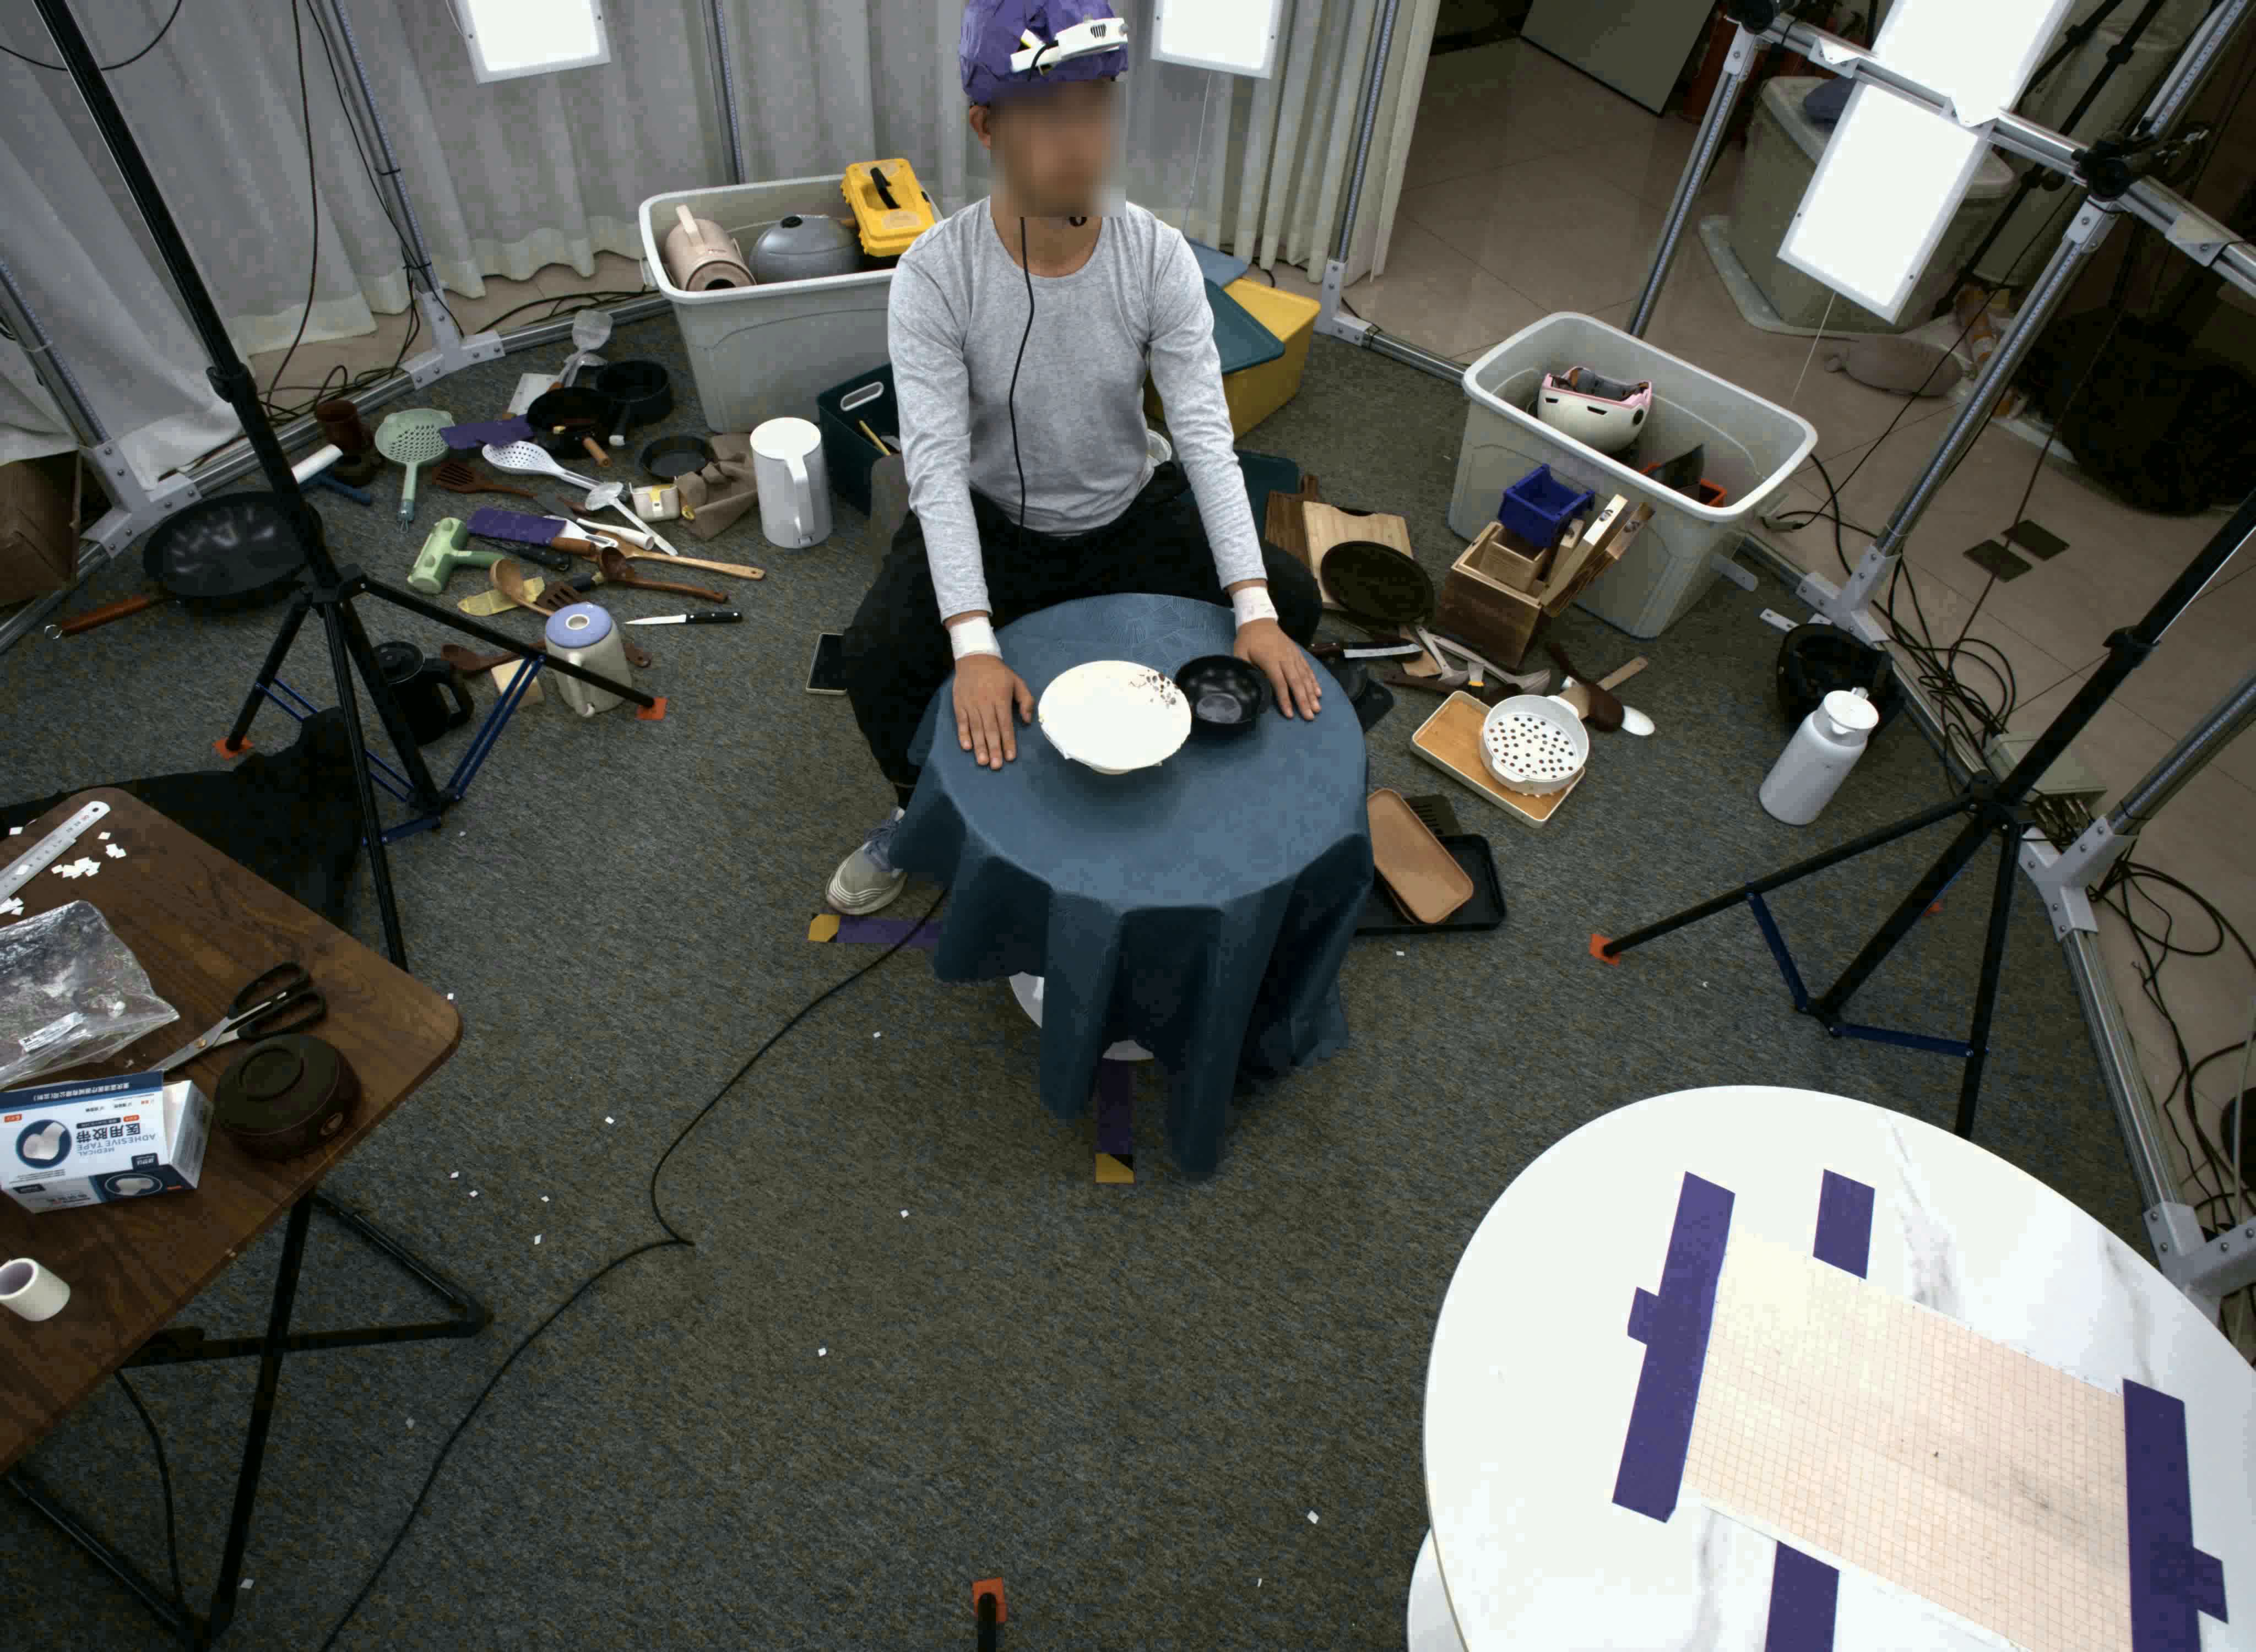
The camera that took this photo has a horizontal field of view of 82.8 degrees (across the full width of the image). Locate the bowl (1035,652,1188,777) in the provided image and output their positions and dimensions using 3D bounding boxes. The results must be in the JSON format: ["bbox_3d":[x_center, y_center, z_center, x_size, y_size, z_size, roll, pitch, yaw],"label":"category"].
[{"bbox_3d":[-0.026,-0.131,1.712,0.203,0.076,0.209,4,56,-6],"label":"bowl"}]

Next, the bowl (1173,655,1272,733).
[{"bbox_3d":[0.130,-0.176,1.797,0.140,0.048,0.143,3,47,-4],"label":"bowl"}]
